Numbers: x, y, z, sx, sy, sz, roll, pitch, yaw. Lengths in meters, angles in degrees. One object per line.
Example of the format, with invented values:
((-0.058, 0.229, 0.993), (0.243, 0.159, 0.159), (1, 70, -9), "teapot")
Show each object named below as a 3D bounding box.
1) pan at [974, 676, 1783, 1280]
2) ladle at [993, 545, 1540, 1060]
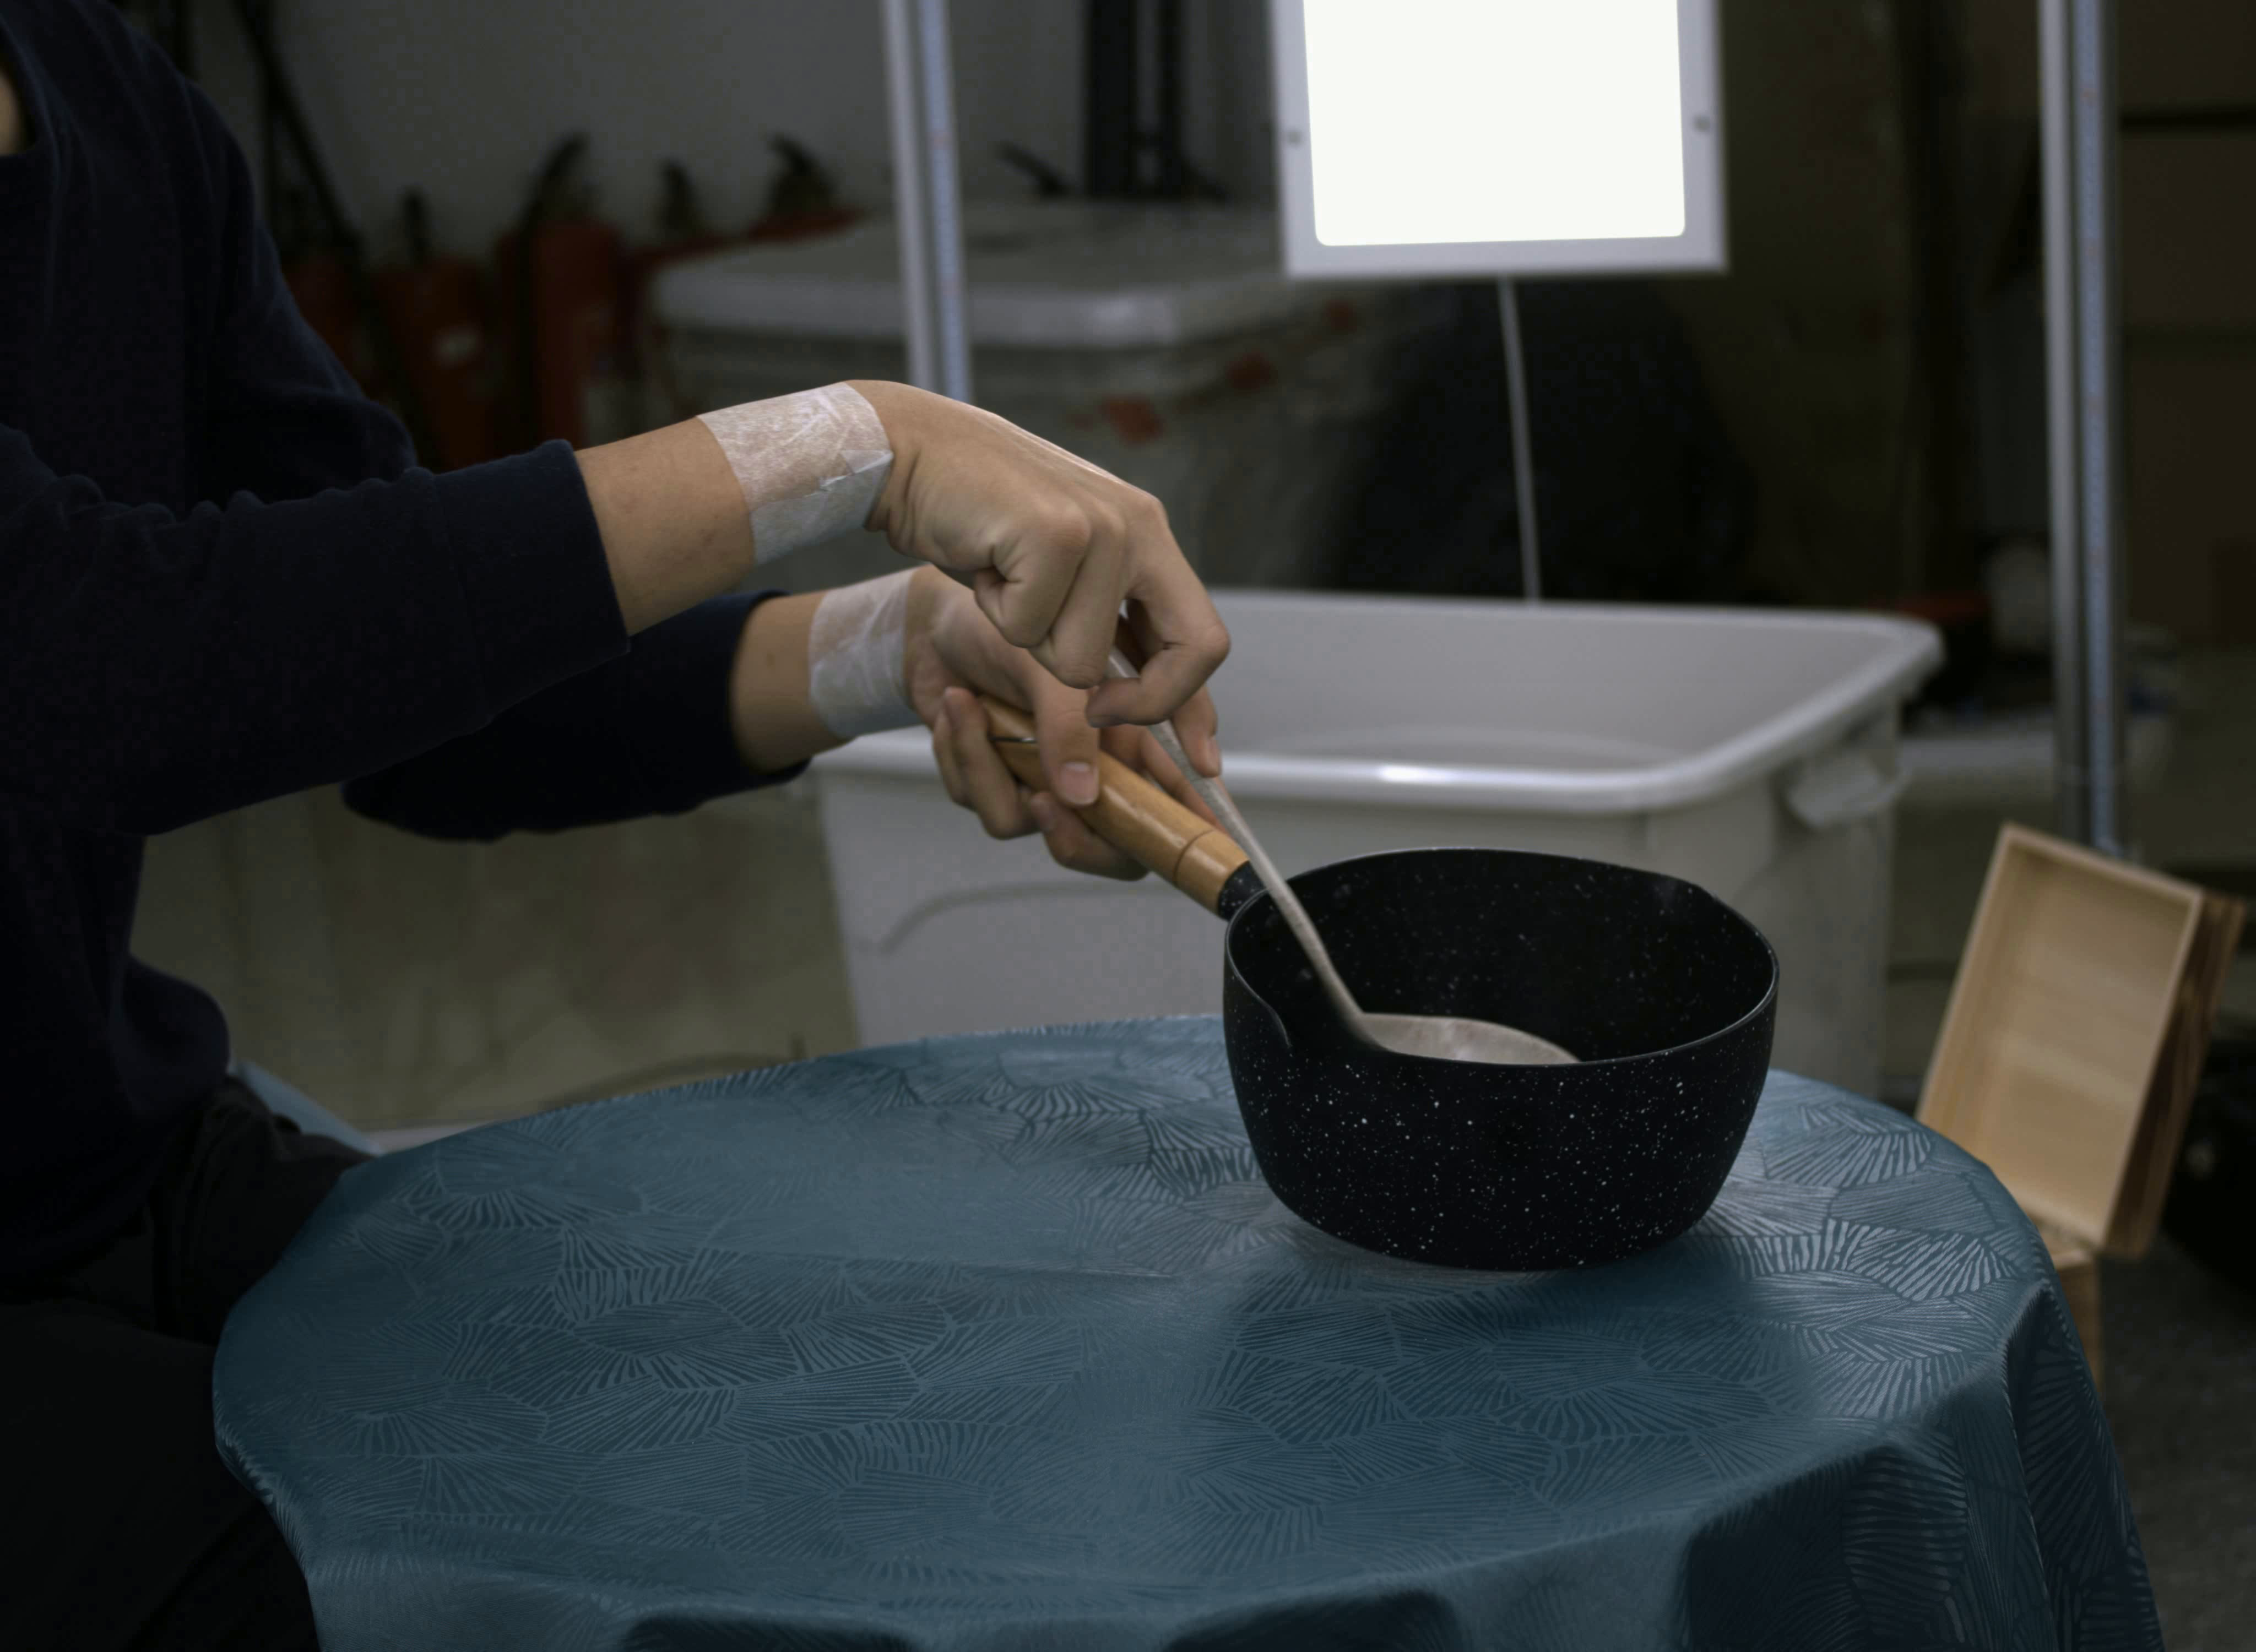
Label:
((0.067, 0.046, 1.874), (0.202, 0.109, 0.349), (-21, 31, -40), "pan")
((0.056, 0.001, 1.799), (0.070, 0.273, 0.089), (-30, 22, 9), "ladle")
